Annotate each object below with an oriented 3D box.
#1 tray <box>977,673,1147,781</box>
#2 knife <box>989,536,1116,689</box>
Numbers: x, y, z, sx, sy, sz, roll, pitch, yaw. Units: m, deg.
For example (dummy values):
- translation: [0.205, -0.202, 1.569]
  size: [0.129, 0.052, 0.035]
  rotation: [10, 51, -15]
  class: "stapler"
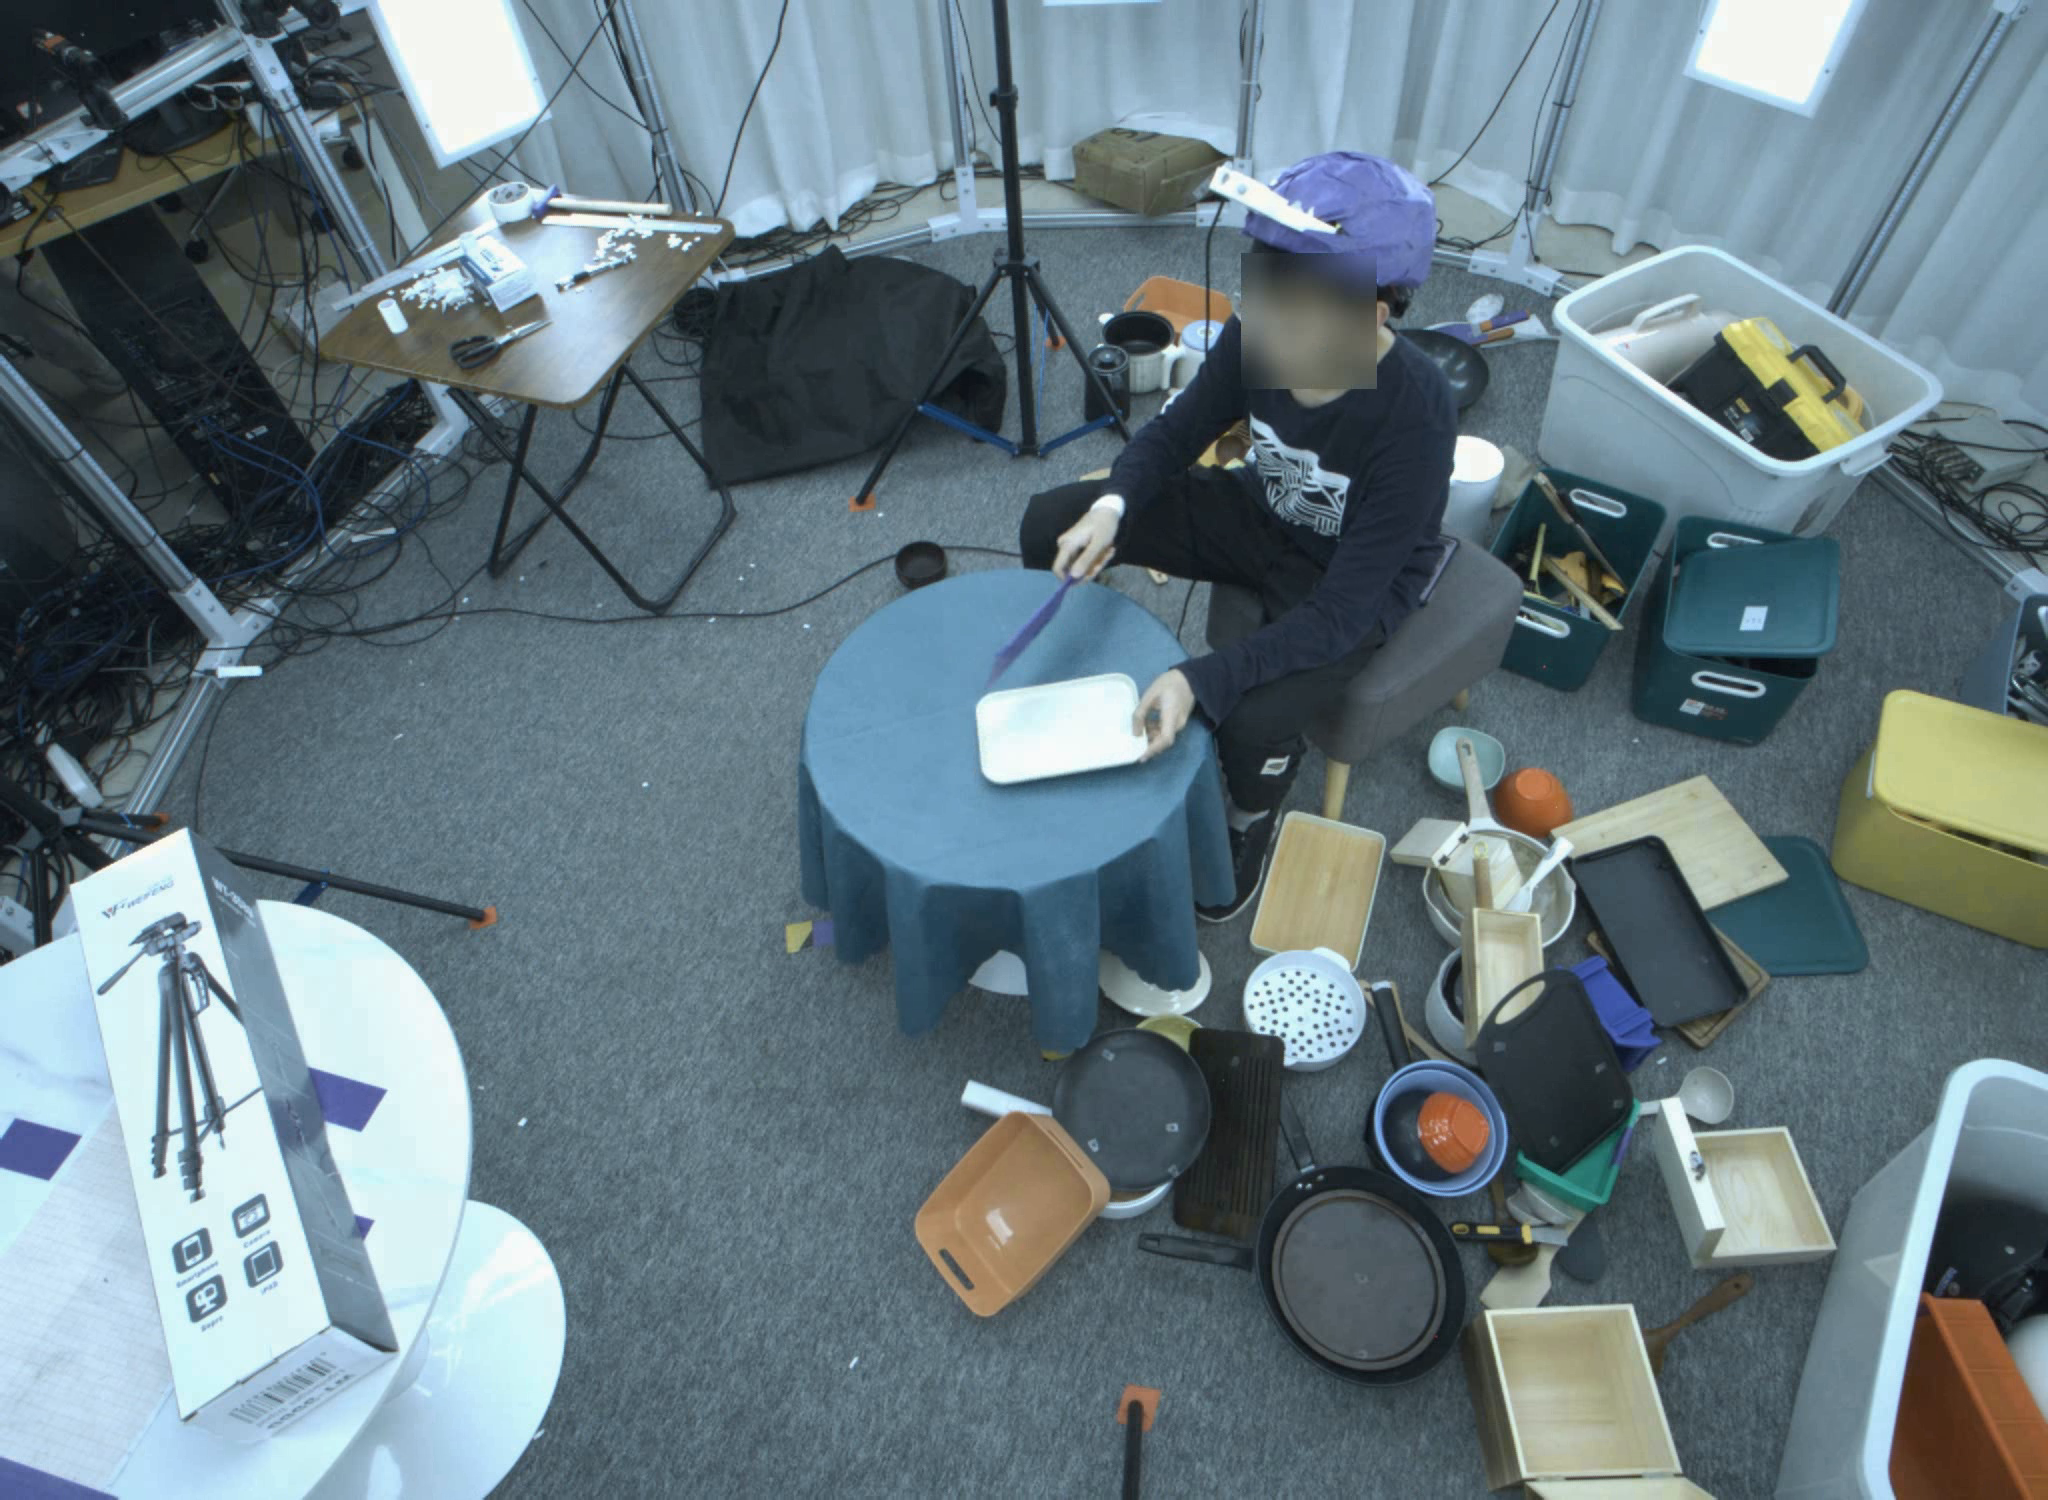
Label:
- translation: [0.054, -0.032, 1.795]
  size: [0.239, 0.018, 0.169]
  rotation: [-8, 51, 1]
  class: "tray"
- translation: [0.039, -0.205, 1.817]
  size: [0.032, 0.104, 0.317]
  rotation: [36, 54, 8]
  class: "knife"
